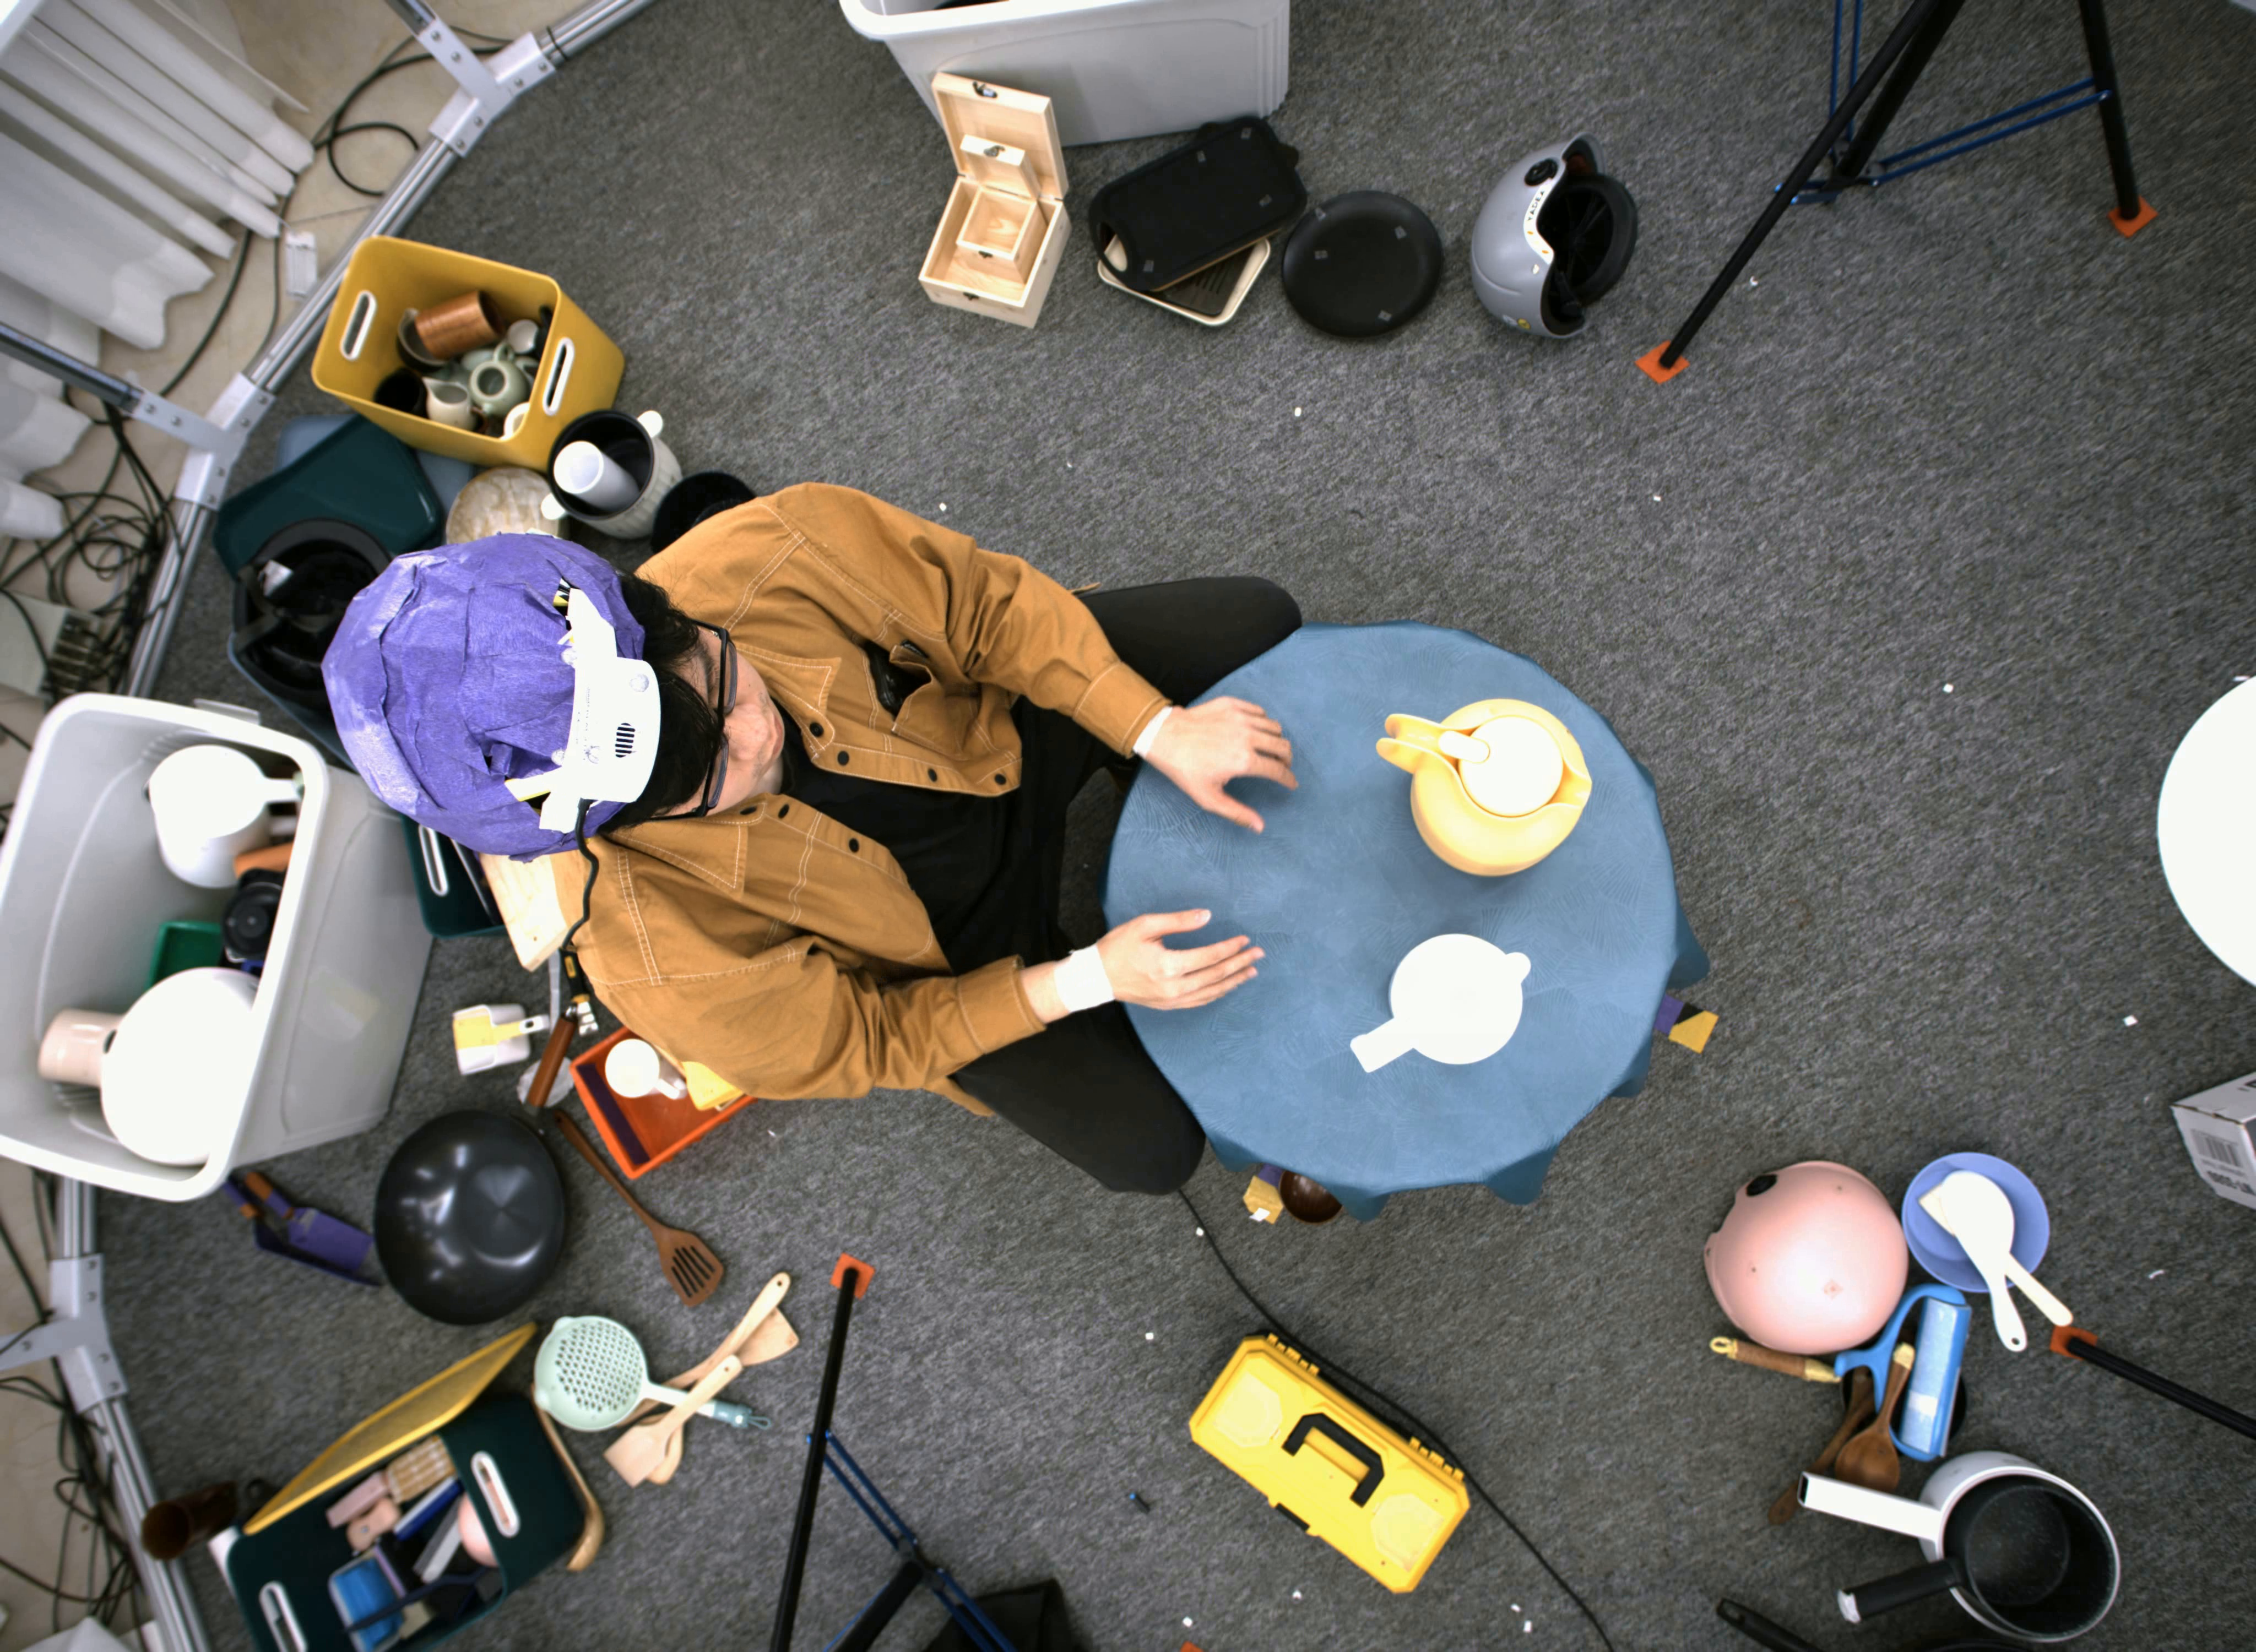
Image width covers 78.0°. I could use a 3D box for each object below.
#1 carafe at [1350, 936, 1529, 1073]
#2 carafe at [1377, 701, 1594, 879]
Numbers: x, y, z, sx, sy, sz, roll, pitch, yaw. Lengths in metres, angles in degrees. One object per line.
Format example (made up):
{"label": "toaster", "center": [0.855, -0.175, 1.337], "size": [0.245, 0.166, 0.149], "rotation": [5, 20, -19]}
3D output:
{"label": "carafe", "center": [0.294, 0.173, 1.316], "size": [0.174, 0.269, 0.123], "rotation": [-33, 82, 6]}
{"label": "carafe", "center": [0.338, -0.049, 1.320], "size": [0.202, 0.261, 0.163], "rotation": [24, 87, 10]}
